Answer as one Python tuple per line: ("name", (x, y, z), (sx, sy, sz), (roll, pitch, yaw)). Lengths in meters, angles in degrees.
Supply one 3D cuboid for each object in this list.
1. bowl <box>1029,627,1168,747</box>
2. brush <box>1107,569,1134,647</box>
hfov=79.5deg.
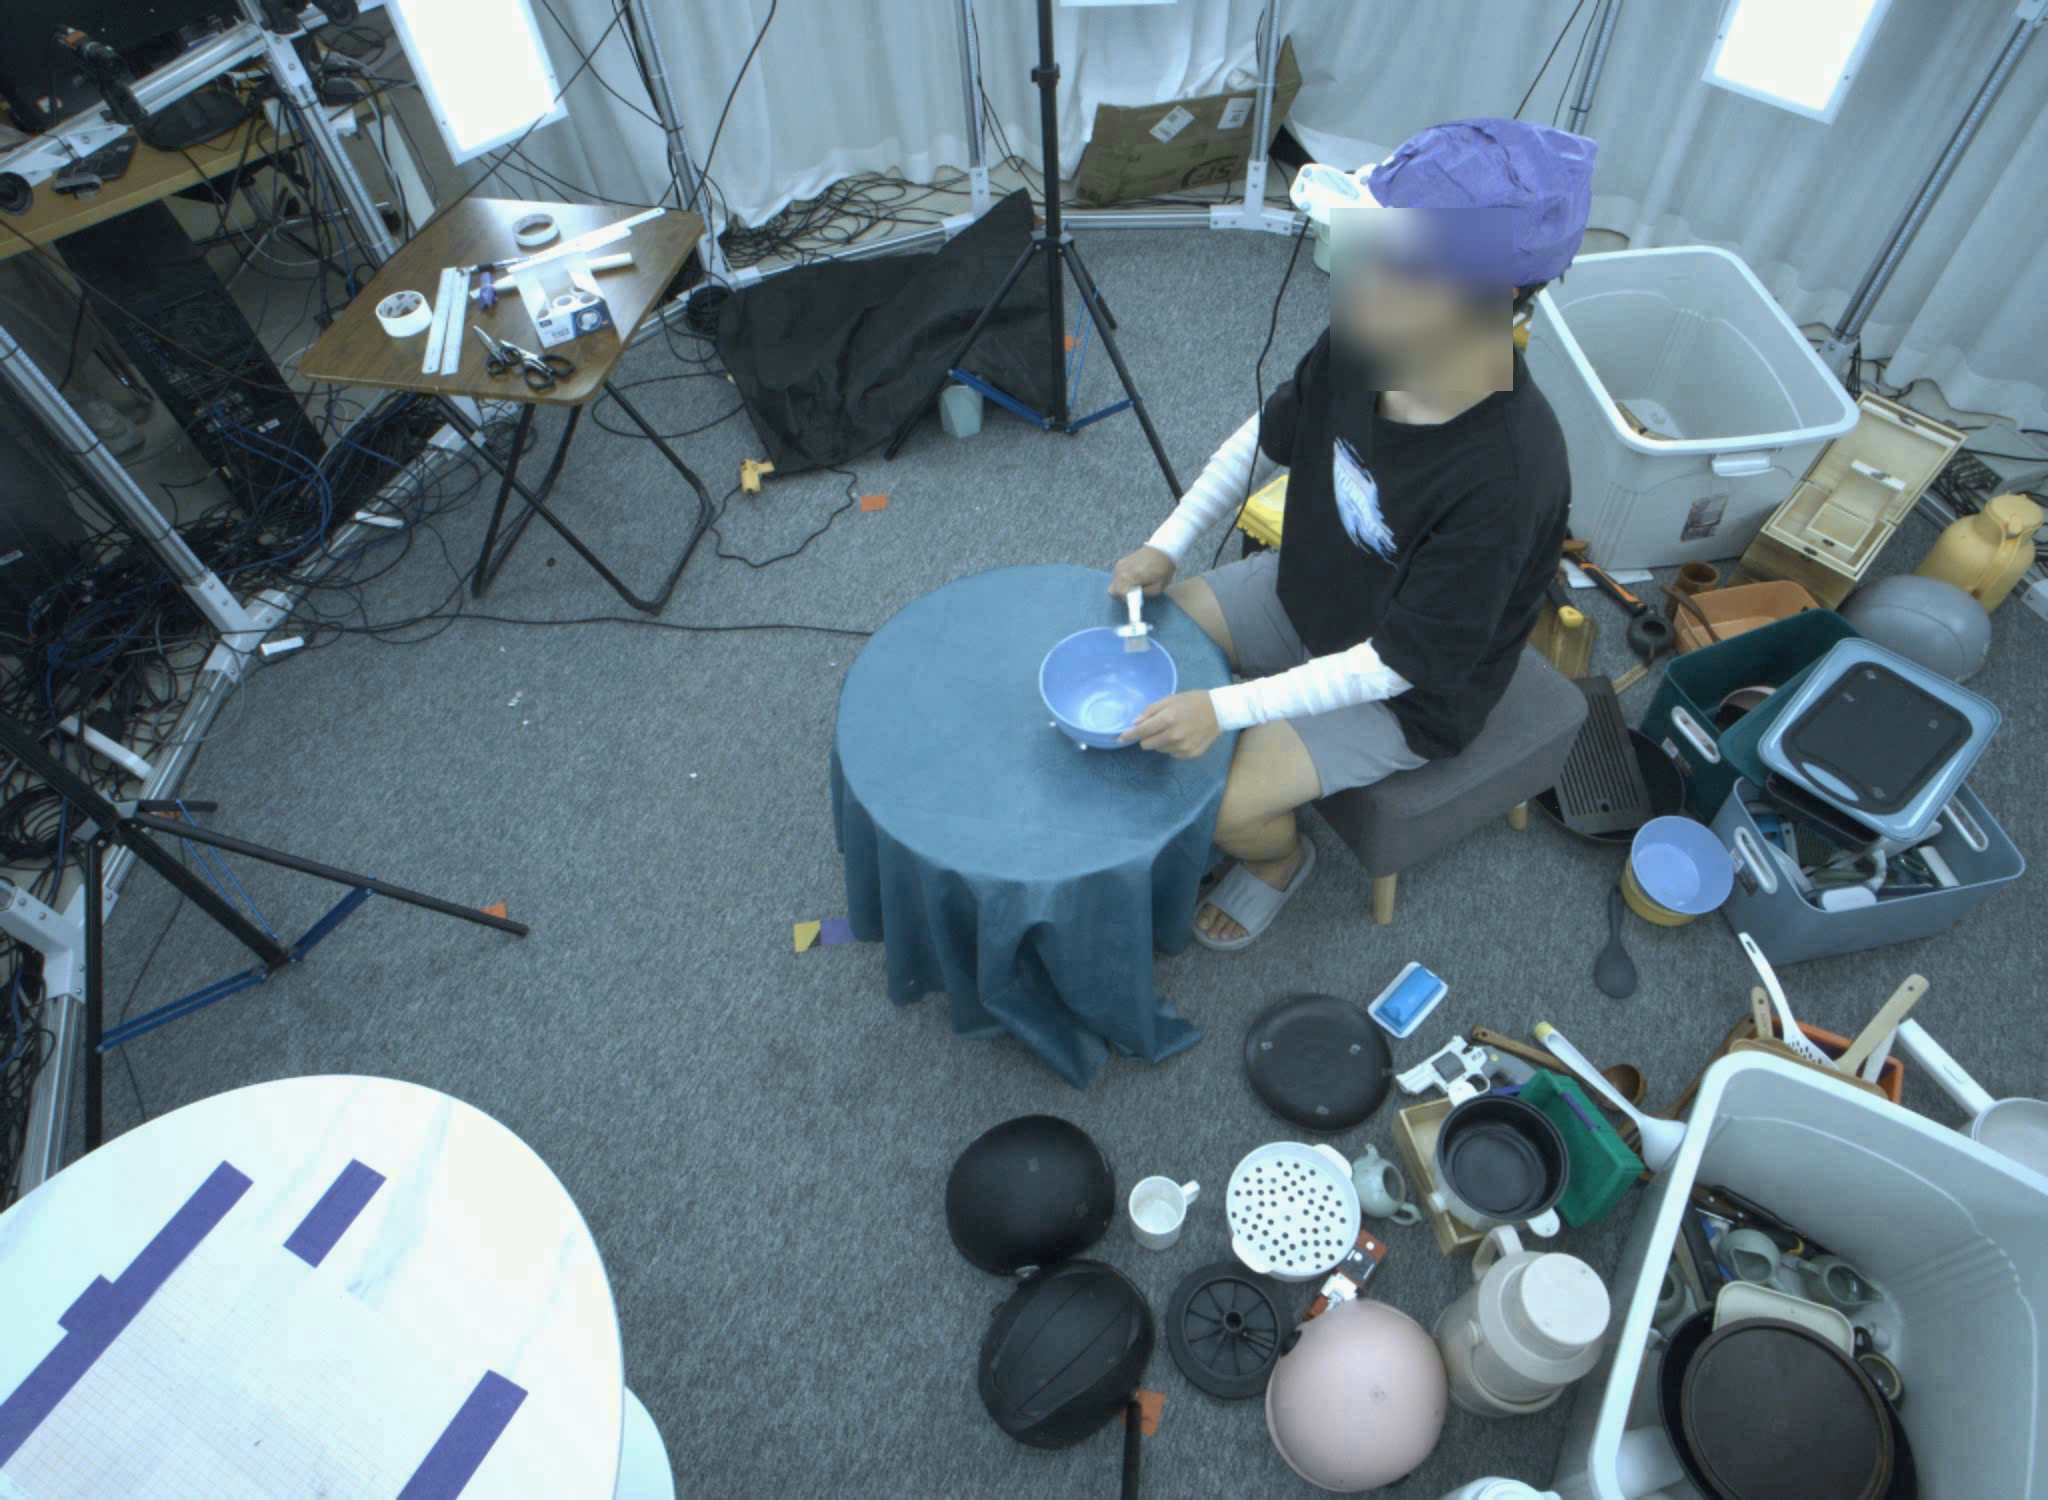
("bowl", (0.108, -0.076, 1.773), (0.196, 0.096, 0.194), (0, 52, 2))
("brush", (0.143, -0.208, 1.822), (0.034, 0.051, 0.242), (-8, 27, 8))
